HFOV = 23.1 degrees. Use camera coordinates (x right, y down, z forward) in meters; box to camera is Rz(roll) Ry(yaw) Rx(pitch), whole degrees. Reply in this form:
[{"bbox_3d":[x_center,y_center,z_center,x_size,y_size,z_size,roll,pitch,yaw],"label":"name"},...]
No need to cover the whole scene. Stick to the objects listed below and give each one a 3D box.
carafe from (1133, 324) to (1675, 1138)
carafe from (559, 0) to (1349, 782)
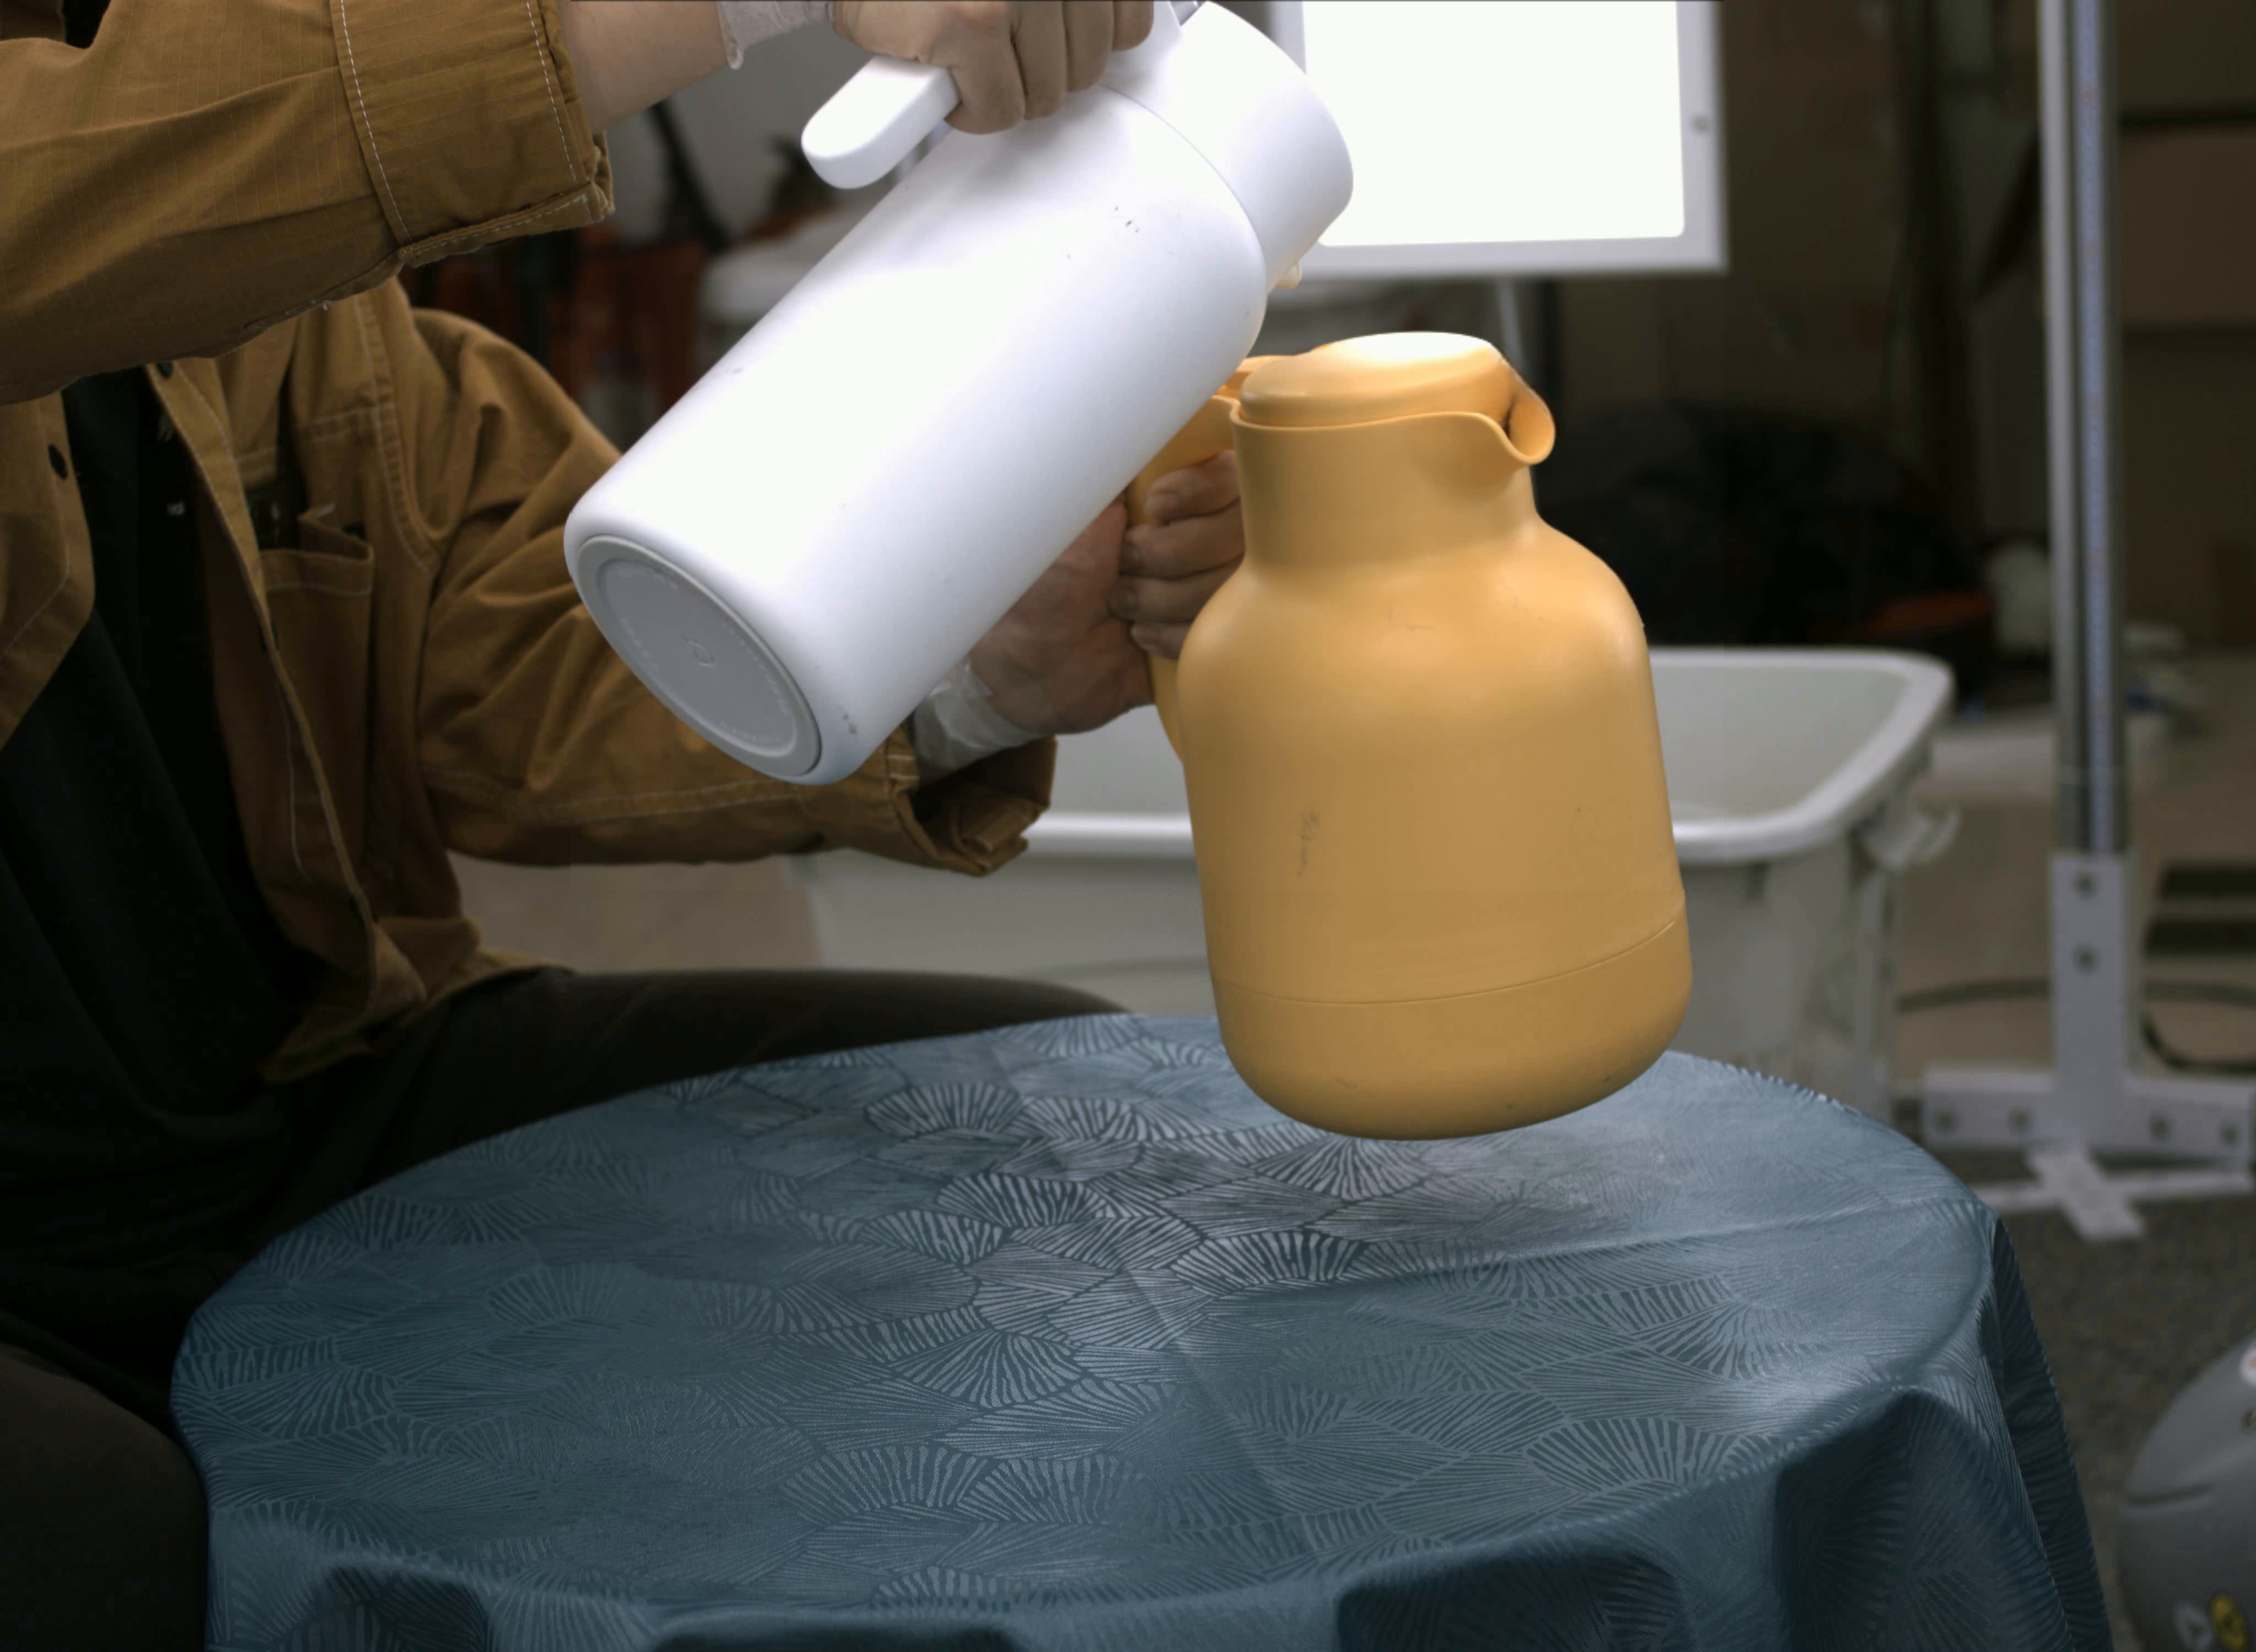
[{"bbox_3d":[0.084,-0.039,1.858,0.159,0.261,0.206,-17,19,-35],"label":"carafe"},{"bbox_3d":[-0.055,-0.153,1.695,0.265,0.171,0.126,-46,42,-20],"label":"carafe"}]
